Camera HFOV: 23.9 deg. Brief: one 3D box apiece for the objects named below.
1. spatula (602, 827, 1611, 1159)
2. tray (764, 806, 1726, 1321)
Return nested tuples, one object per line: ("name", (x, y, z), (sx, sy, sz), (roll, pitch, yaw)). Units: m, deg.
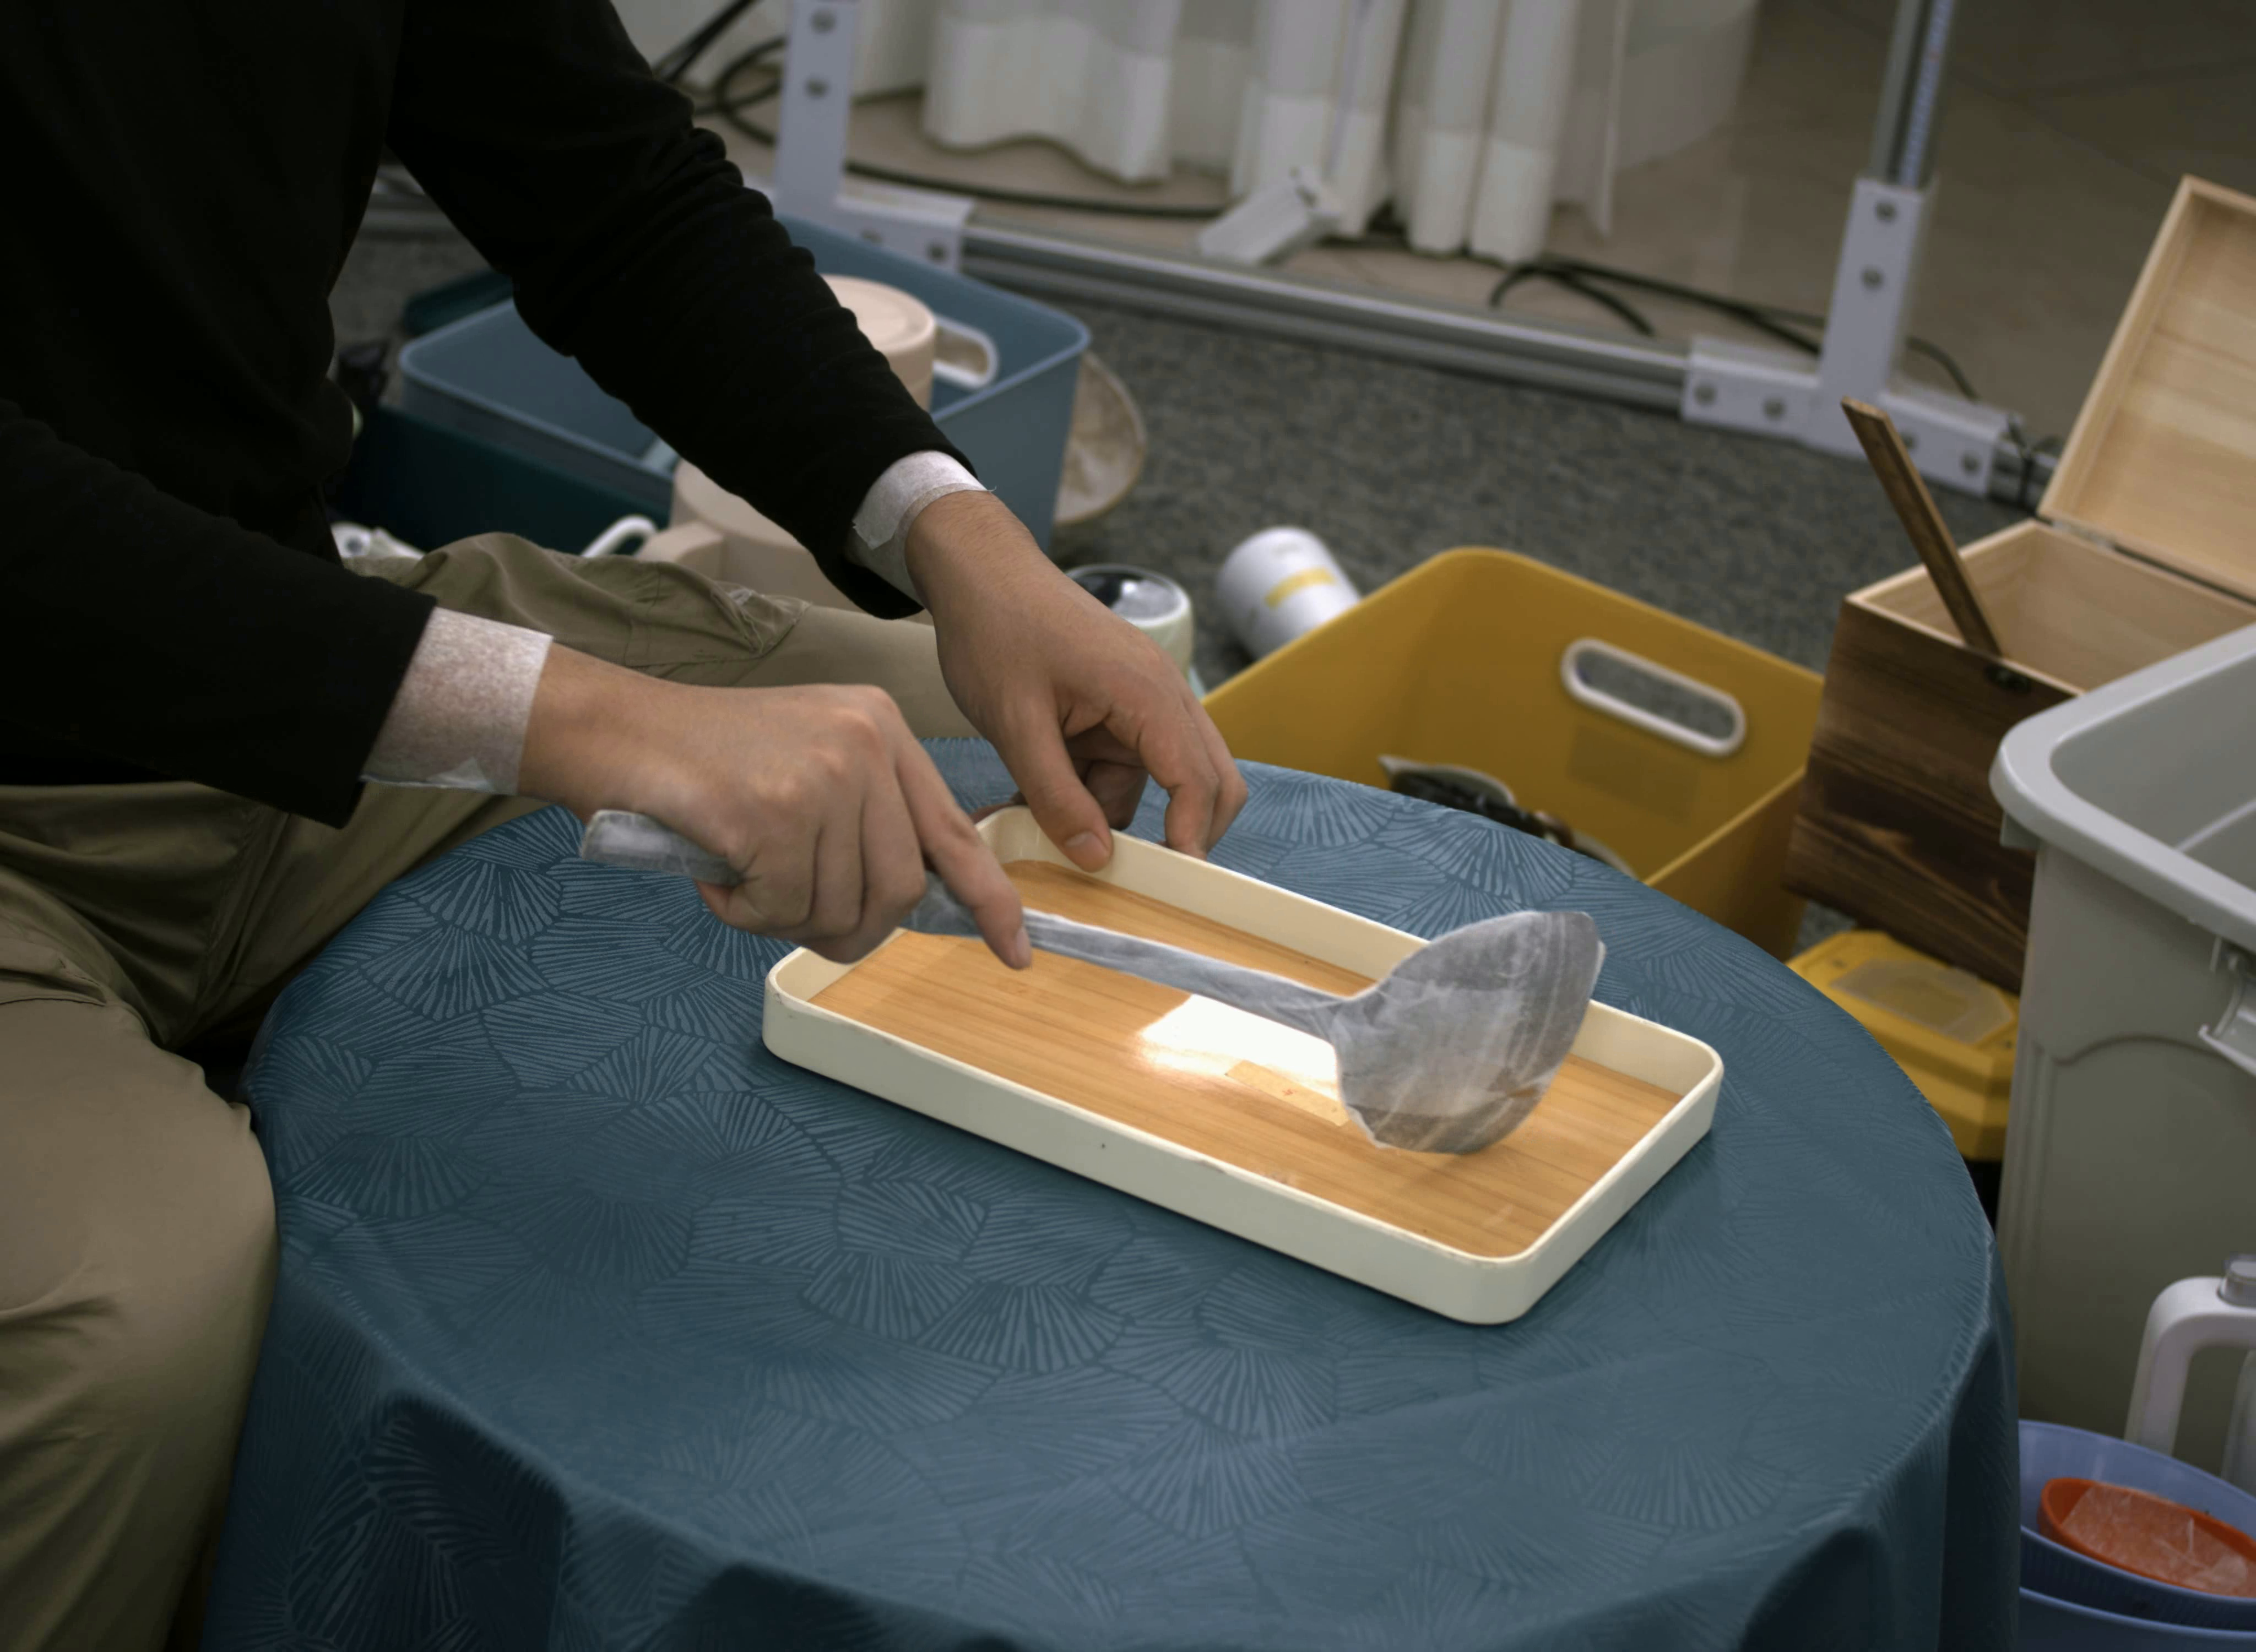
("spatula", (-0.003, 0.041, 1.755), (0.362, 0.098, 0.045), (15, 23, -20))
("tray", (0.041, 0.079, 1.870), (0.301, 0.027, 0.191), (20, 30, 24))
